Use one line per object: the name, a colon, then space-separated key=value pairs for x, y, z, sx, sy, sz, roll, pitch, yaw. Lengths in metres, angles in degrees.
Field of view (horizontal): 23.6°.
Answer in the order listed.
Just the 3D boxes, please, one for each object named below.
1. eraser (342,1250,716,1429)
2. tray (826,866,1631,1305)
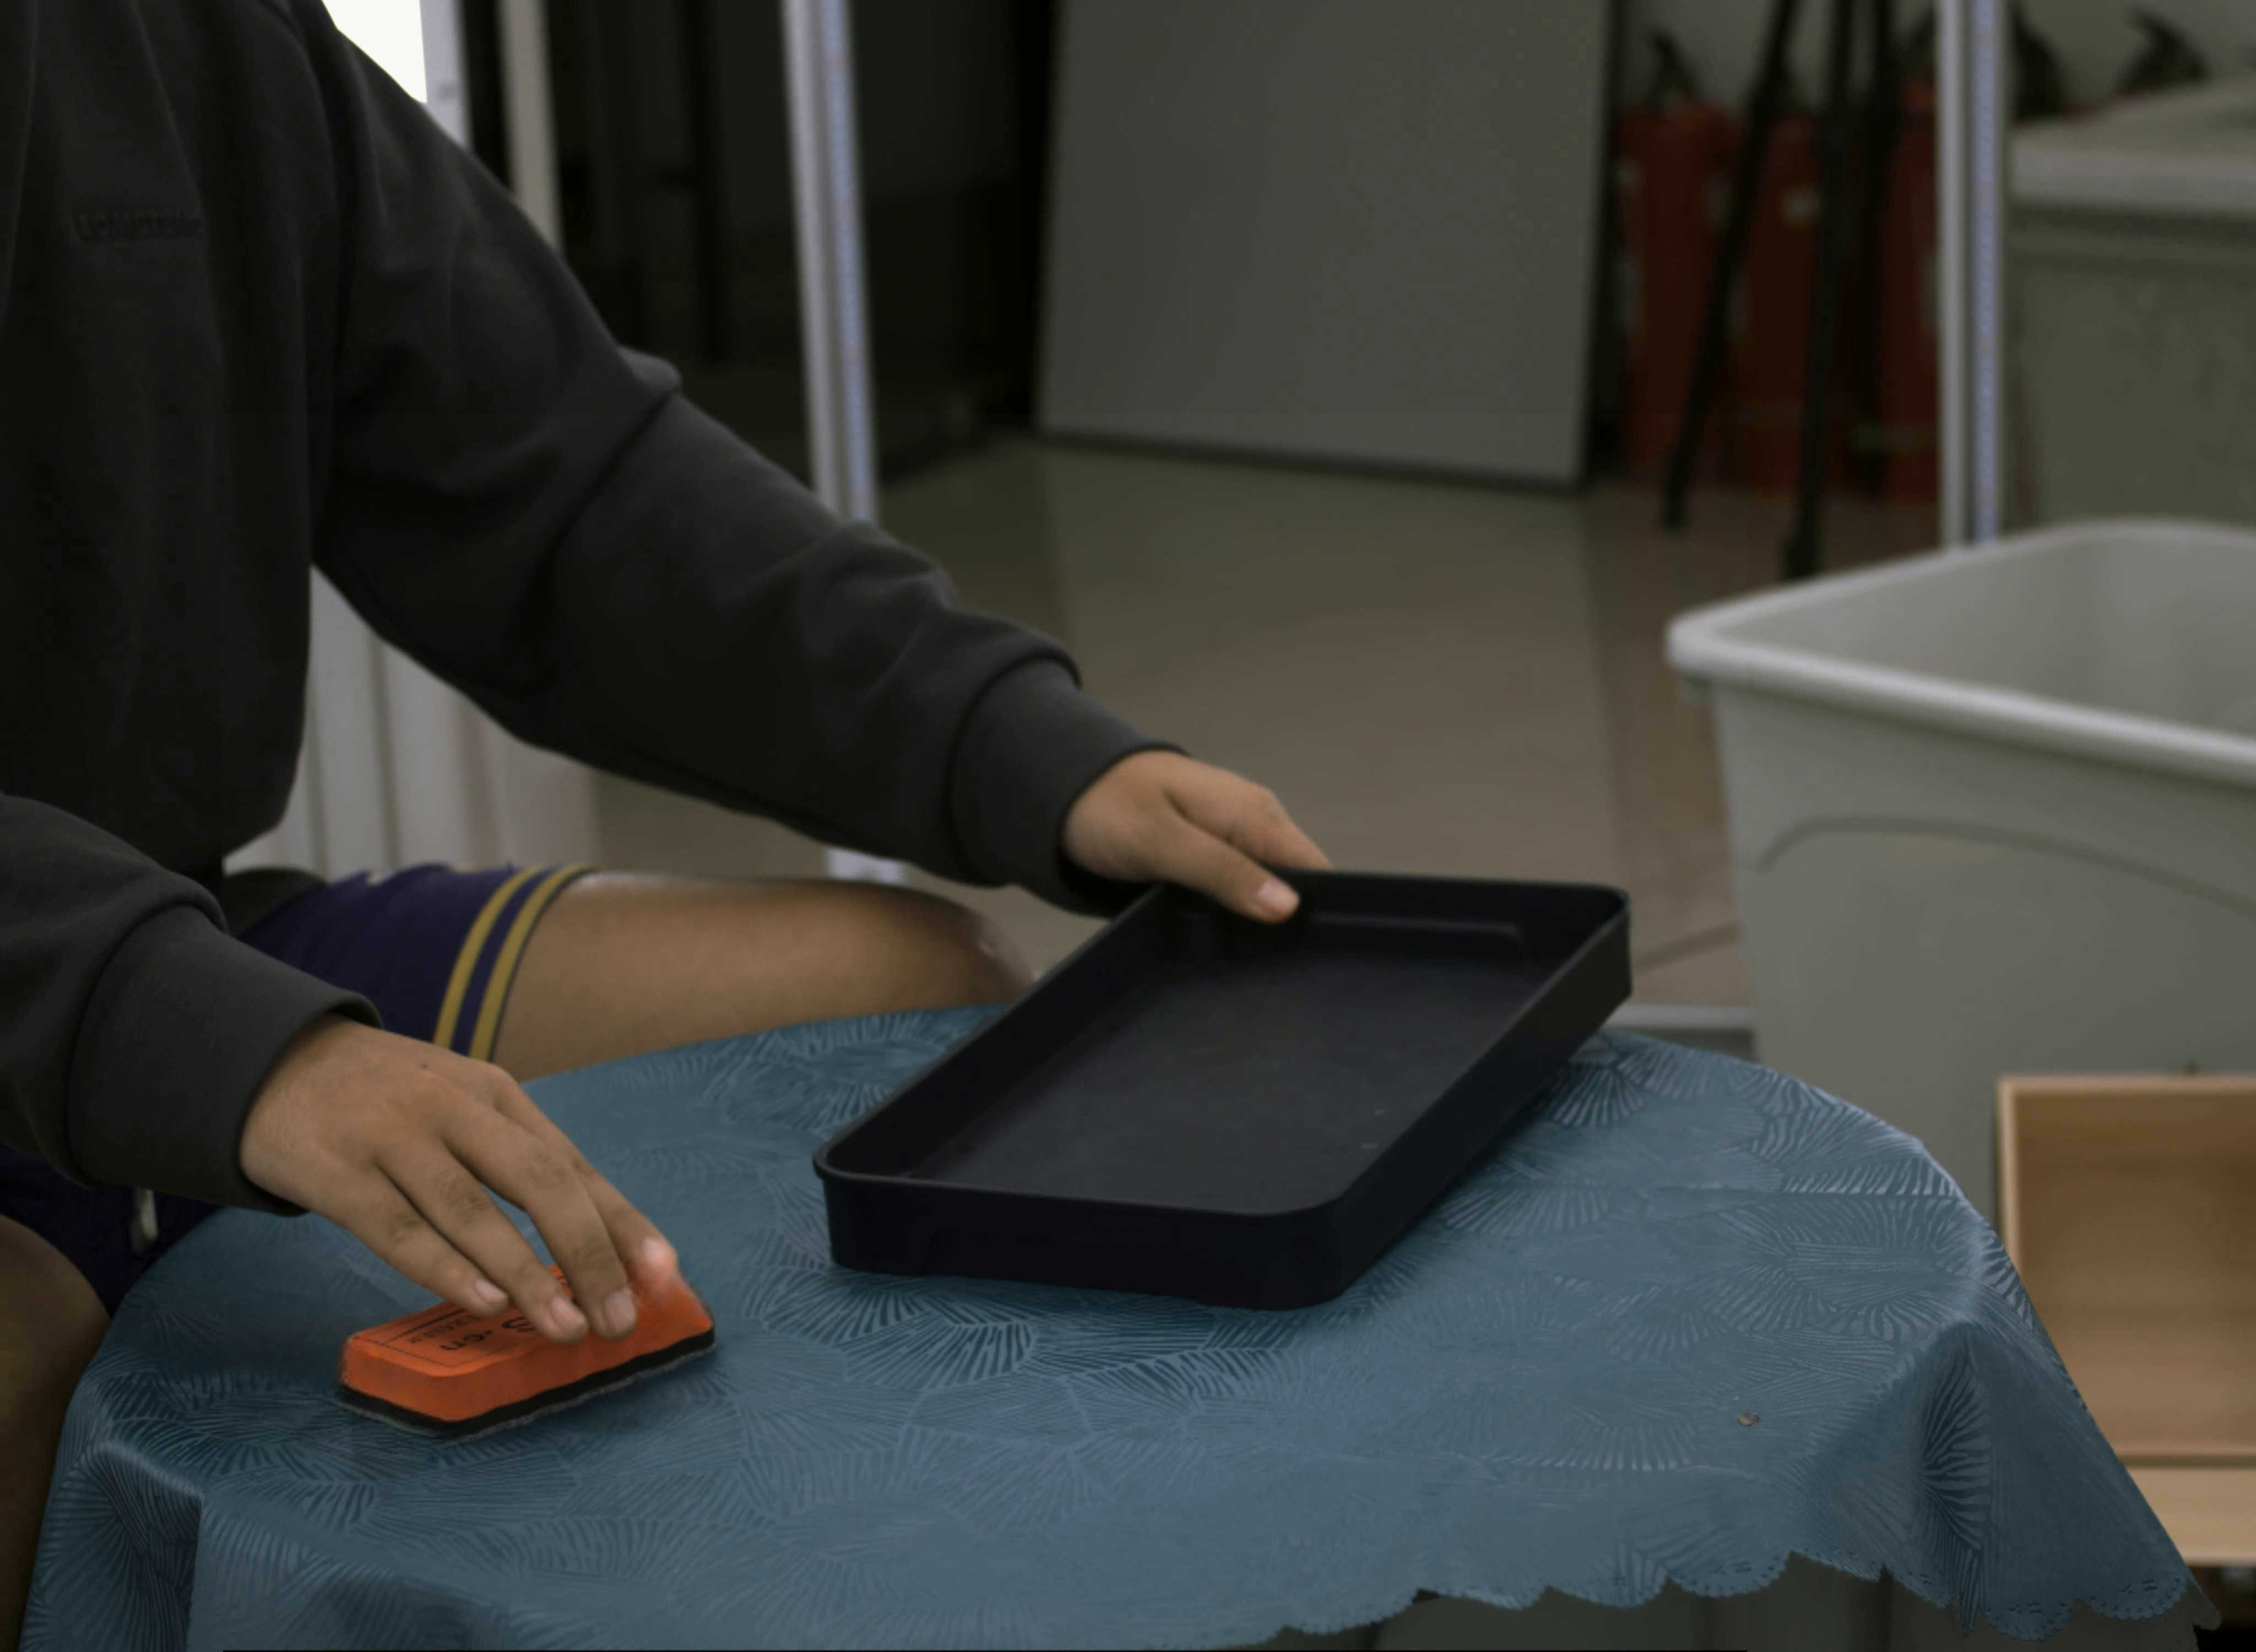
eraser: x=-0.179 y=0.153 z=1.625 sx=0.106 sy=0.023 sz=0.059 roll=-19 pitch=11 yaw=-42
tray: x=0.042 y=0.081 z=1.807 sx=0.184 sy=0.037 sz=0.314 roll=1 pitch=19 yaw=24
